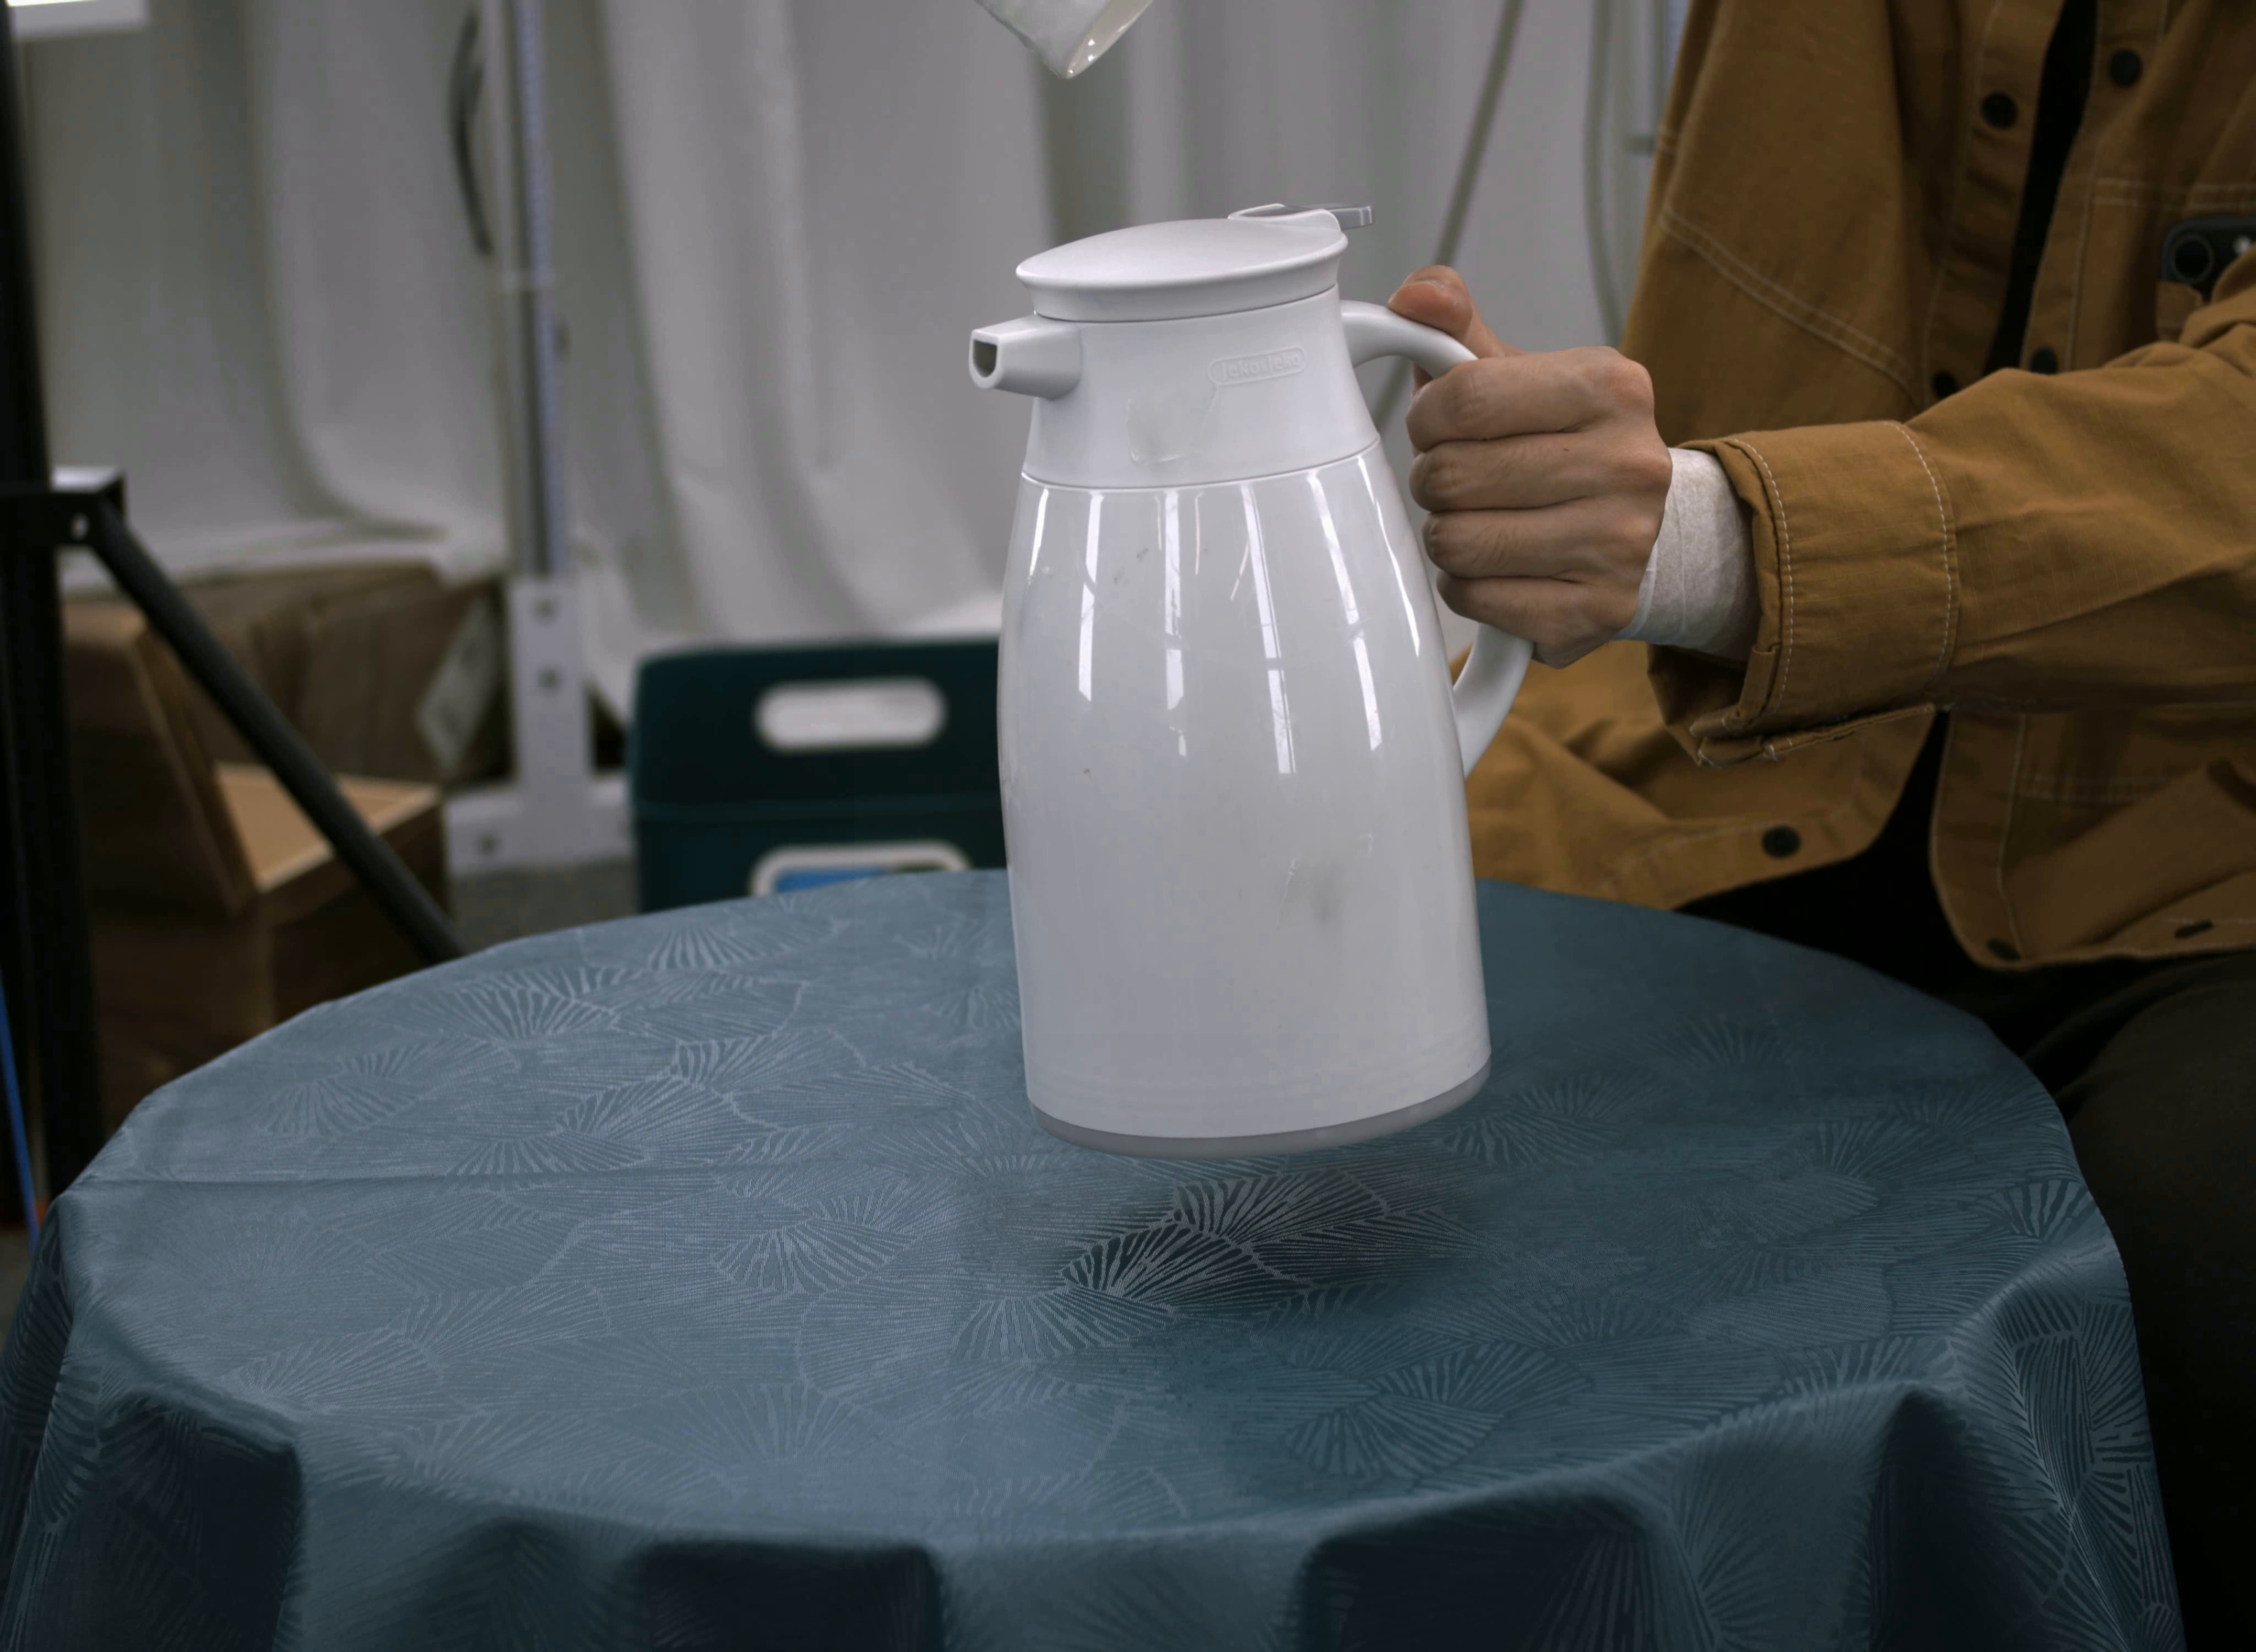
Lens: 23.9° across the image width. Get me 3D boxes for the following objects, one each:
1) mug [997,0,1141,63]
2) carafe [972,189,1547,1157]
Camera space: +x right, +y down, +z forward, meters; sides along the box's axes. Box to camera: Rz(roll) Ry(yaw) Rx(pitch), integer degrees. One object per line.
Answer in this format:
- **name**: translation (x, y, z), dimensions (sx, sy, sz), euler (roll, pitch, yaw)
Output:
- **mug**: translation (-0.018, -0.277, 1.438), dimensions (0.102, 0.085, 0.117), euler (41, 49, 2)
- **carafe**: translation (0.042, -0.049, 1.482), dimensions (0.164, 0.249, 0.135), euler (-11, 13, -25)
